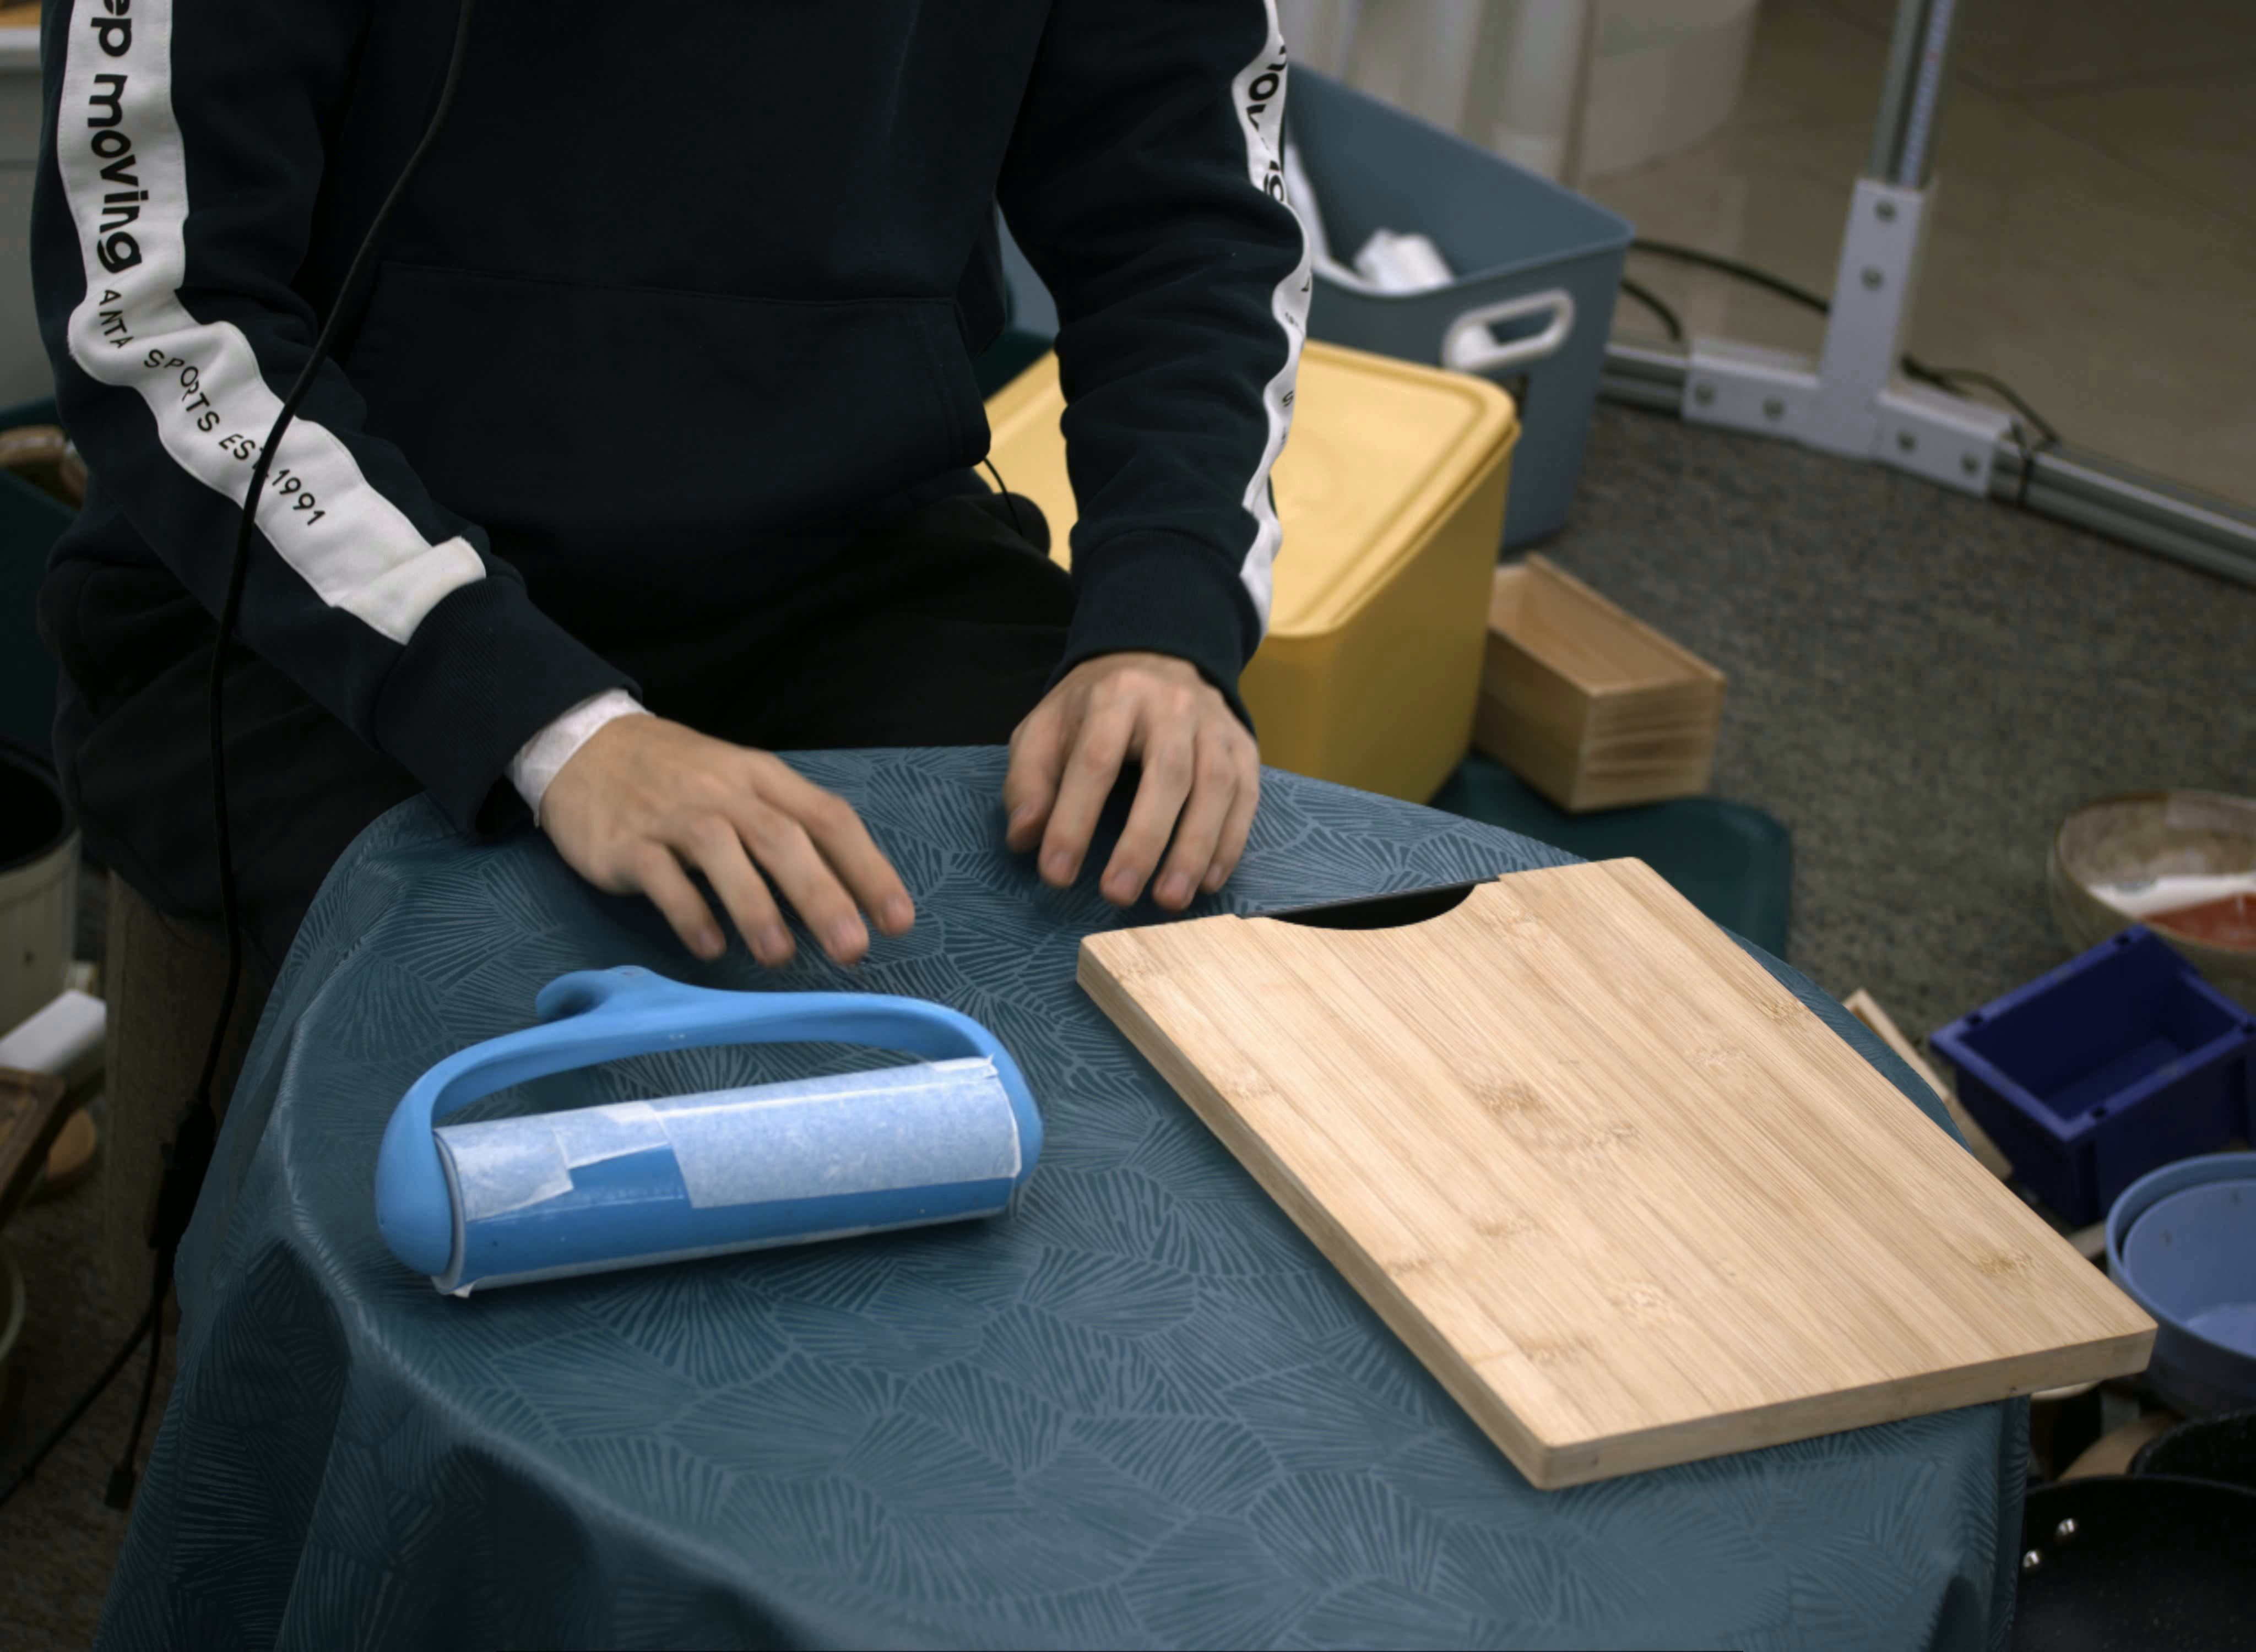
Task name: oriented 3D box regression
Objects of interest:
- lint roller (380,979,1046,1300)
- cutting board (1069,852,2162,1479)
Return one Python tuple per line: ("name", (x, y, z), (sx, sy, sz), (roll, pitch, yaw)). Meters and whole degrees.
("lint roller", (-0.159, 0.086, 1.775), (0.227, 0.067, 0.182), (-9, 31, -26))
("cutting board", (0.160, 0.110, 1.844), (0.249, 0.023, 0.352), (-8, 30, -26))
